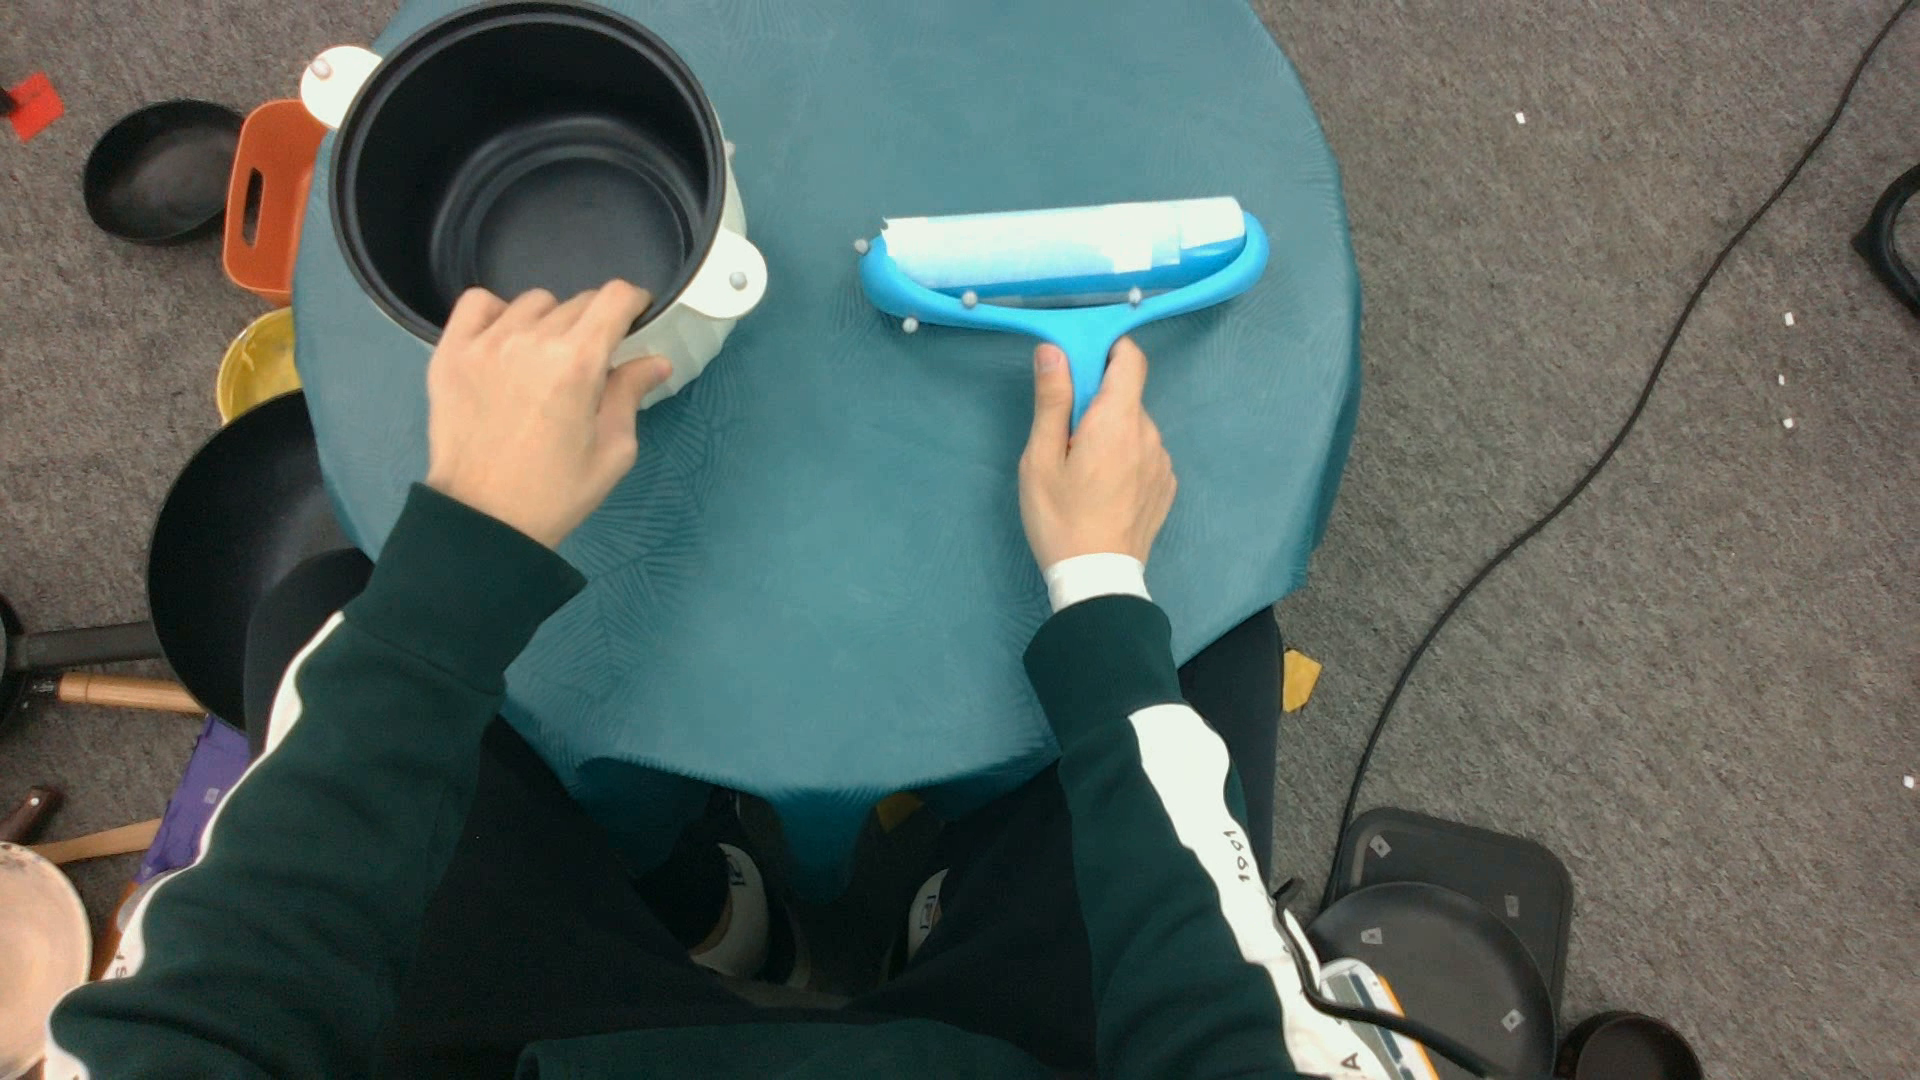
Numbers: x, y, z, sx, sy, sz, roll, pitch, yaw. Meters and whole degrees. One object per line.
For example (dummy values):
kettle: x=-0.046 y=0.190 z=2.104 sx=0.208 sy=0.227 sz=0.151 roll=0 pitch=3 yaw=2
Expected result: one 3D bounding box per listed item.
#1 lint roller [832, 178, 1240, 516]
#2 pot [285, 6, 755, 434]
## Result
lint roller: x=0.055 y=-0.107 z=0.753 sx=0.229 sy=0.068 sz=0.180 roll=-10 pitch=77 yaw=-8
pot: x=-0.207 y=-0.159 z=0.703 sx=0.240 sy=0.142 sz=0.191 roll=26 pitch=80 yaw=1
